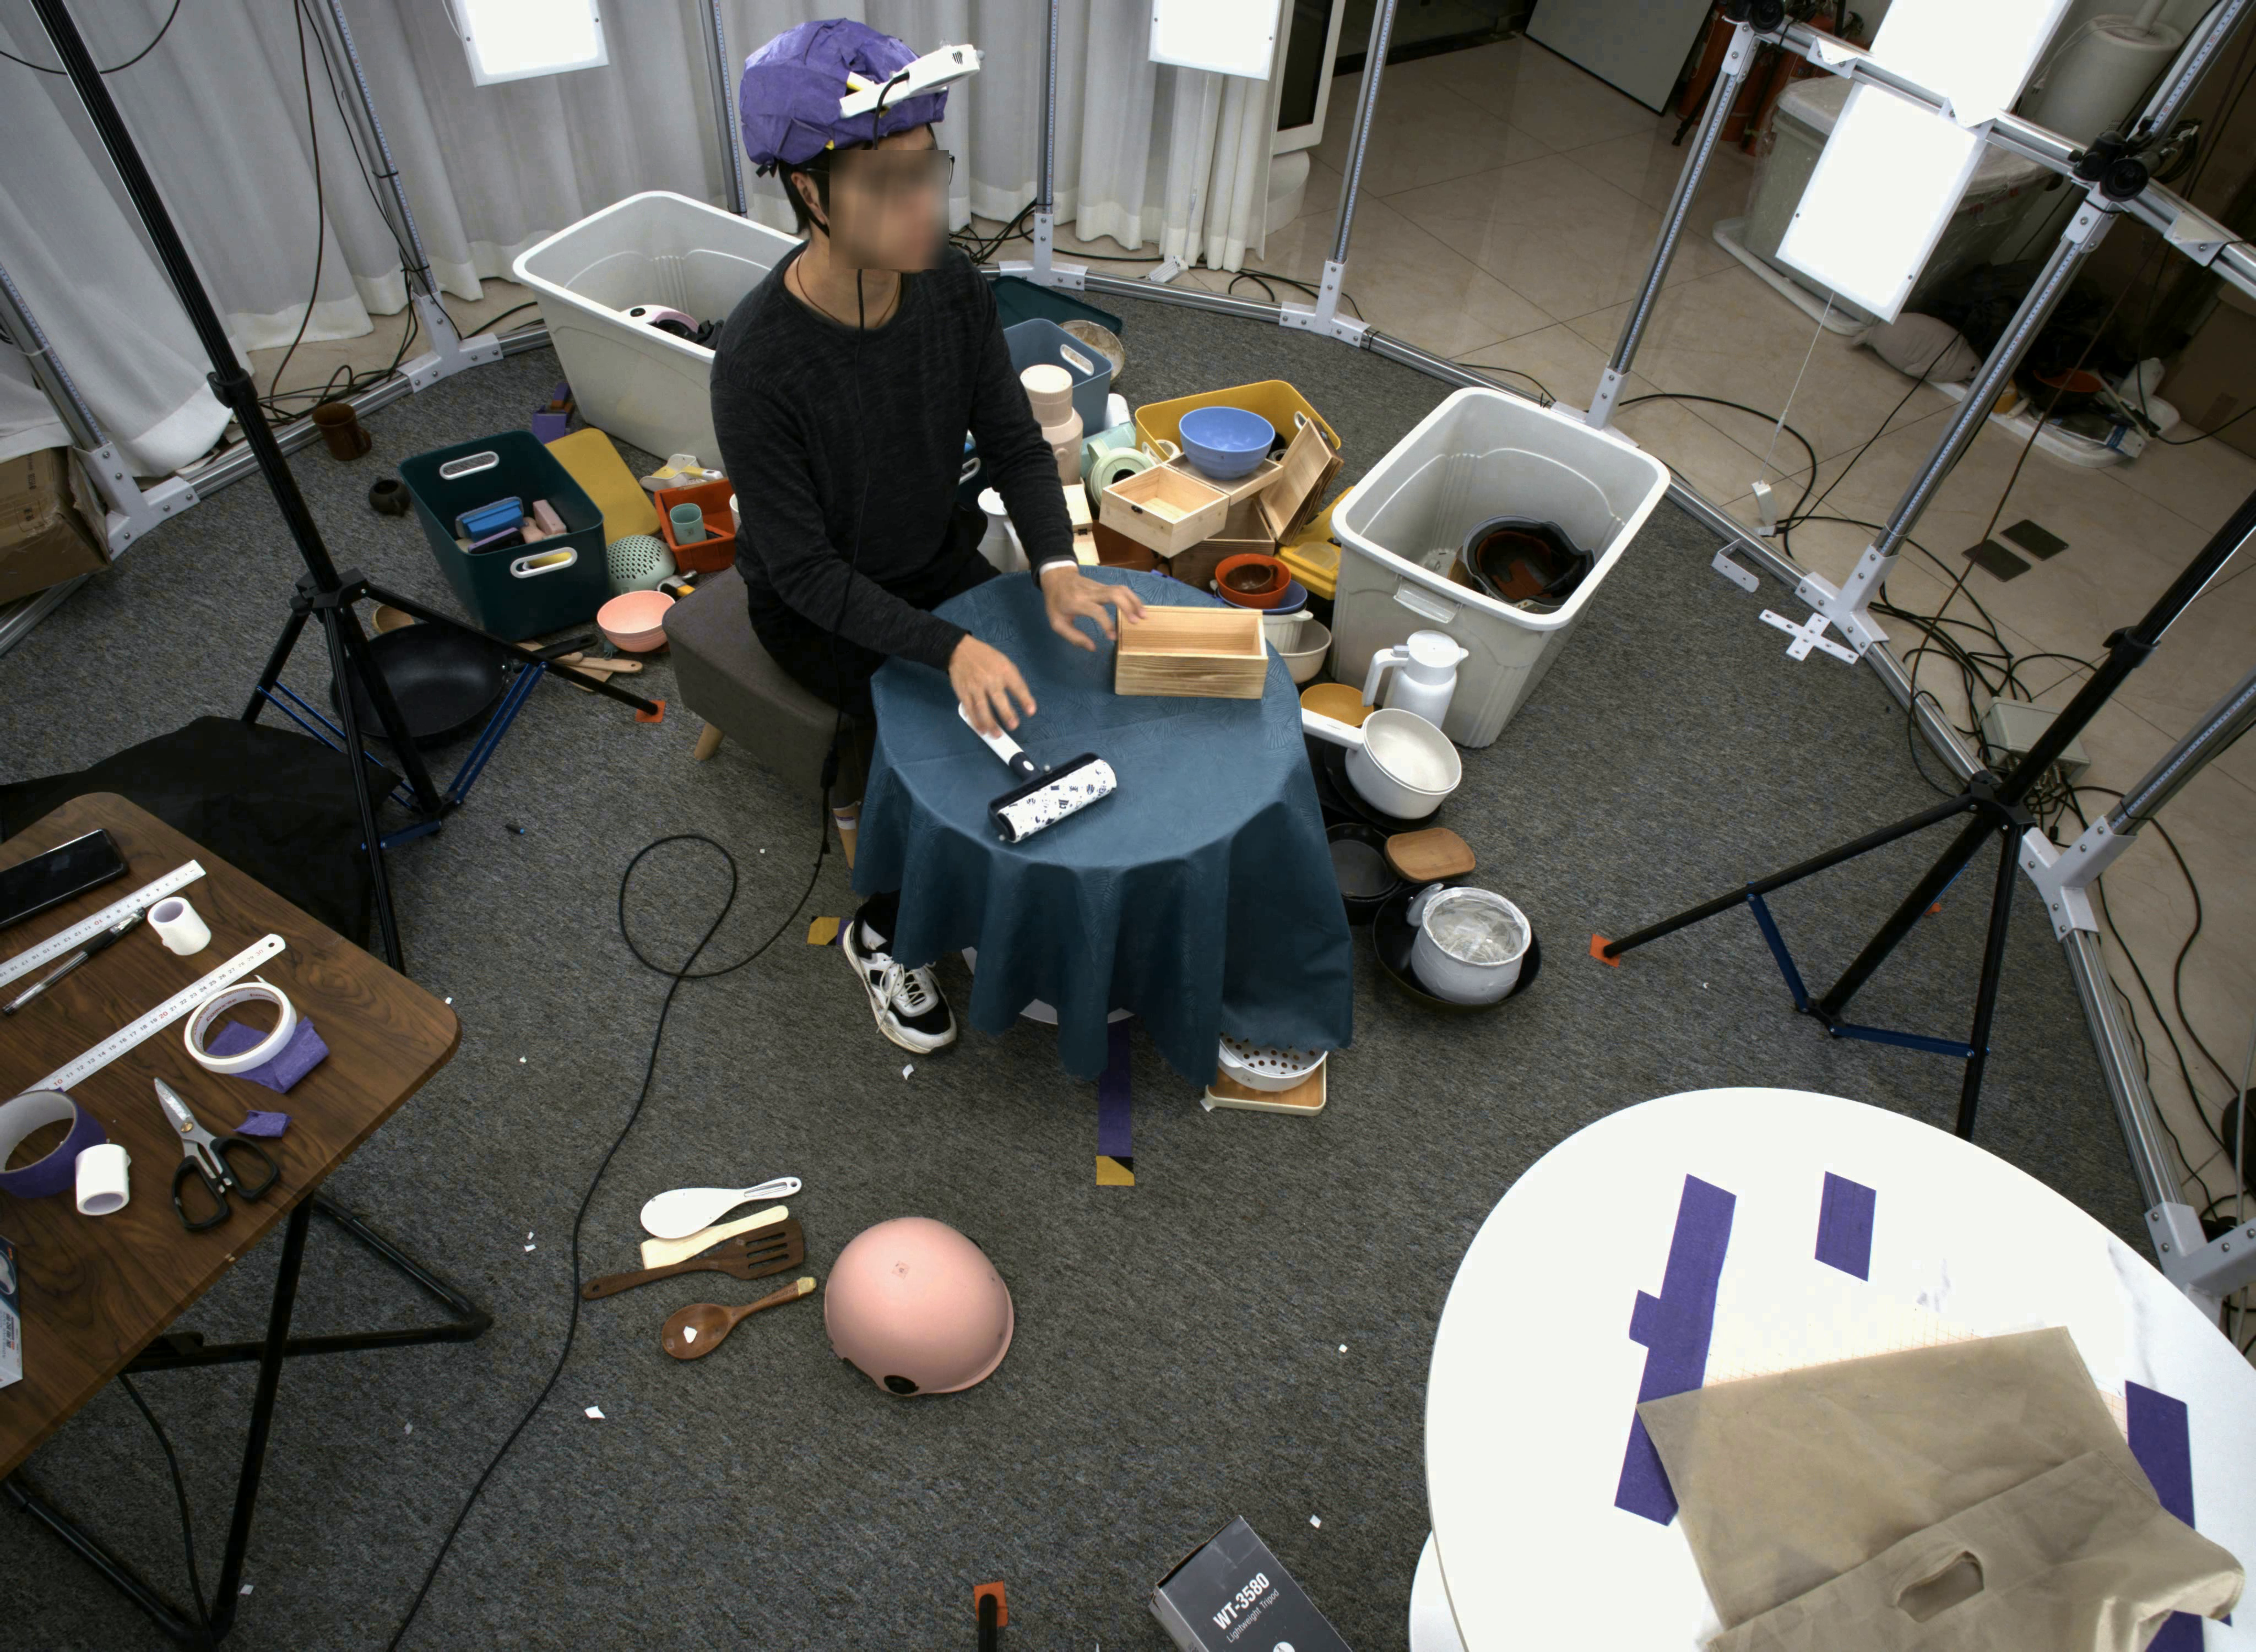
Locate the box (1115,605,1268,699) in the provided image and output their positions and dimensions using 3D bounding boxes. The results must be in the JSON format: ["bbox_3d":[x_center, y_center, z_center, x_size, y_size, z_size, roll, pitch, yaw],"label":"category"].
[{"bbox_3d":[0.088,-0.250,1.841,0.211,0.078,0.110,1,49,-3],"label":"box"}]

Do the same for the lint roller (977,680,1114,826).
[{"bbox_3d":[-0.148,-0.116,1.723,0.176,0.049,0.252,-17,54,-20],"label":"lint roller"}]
